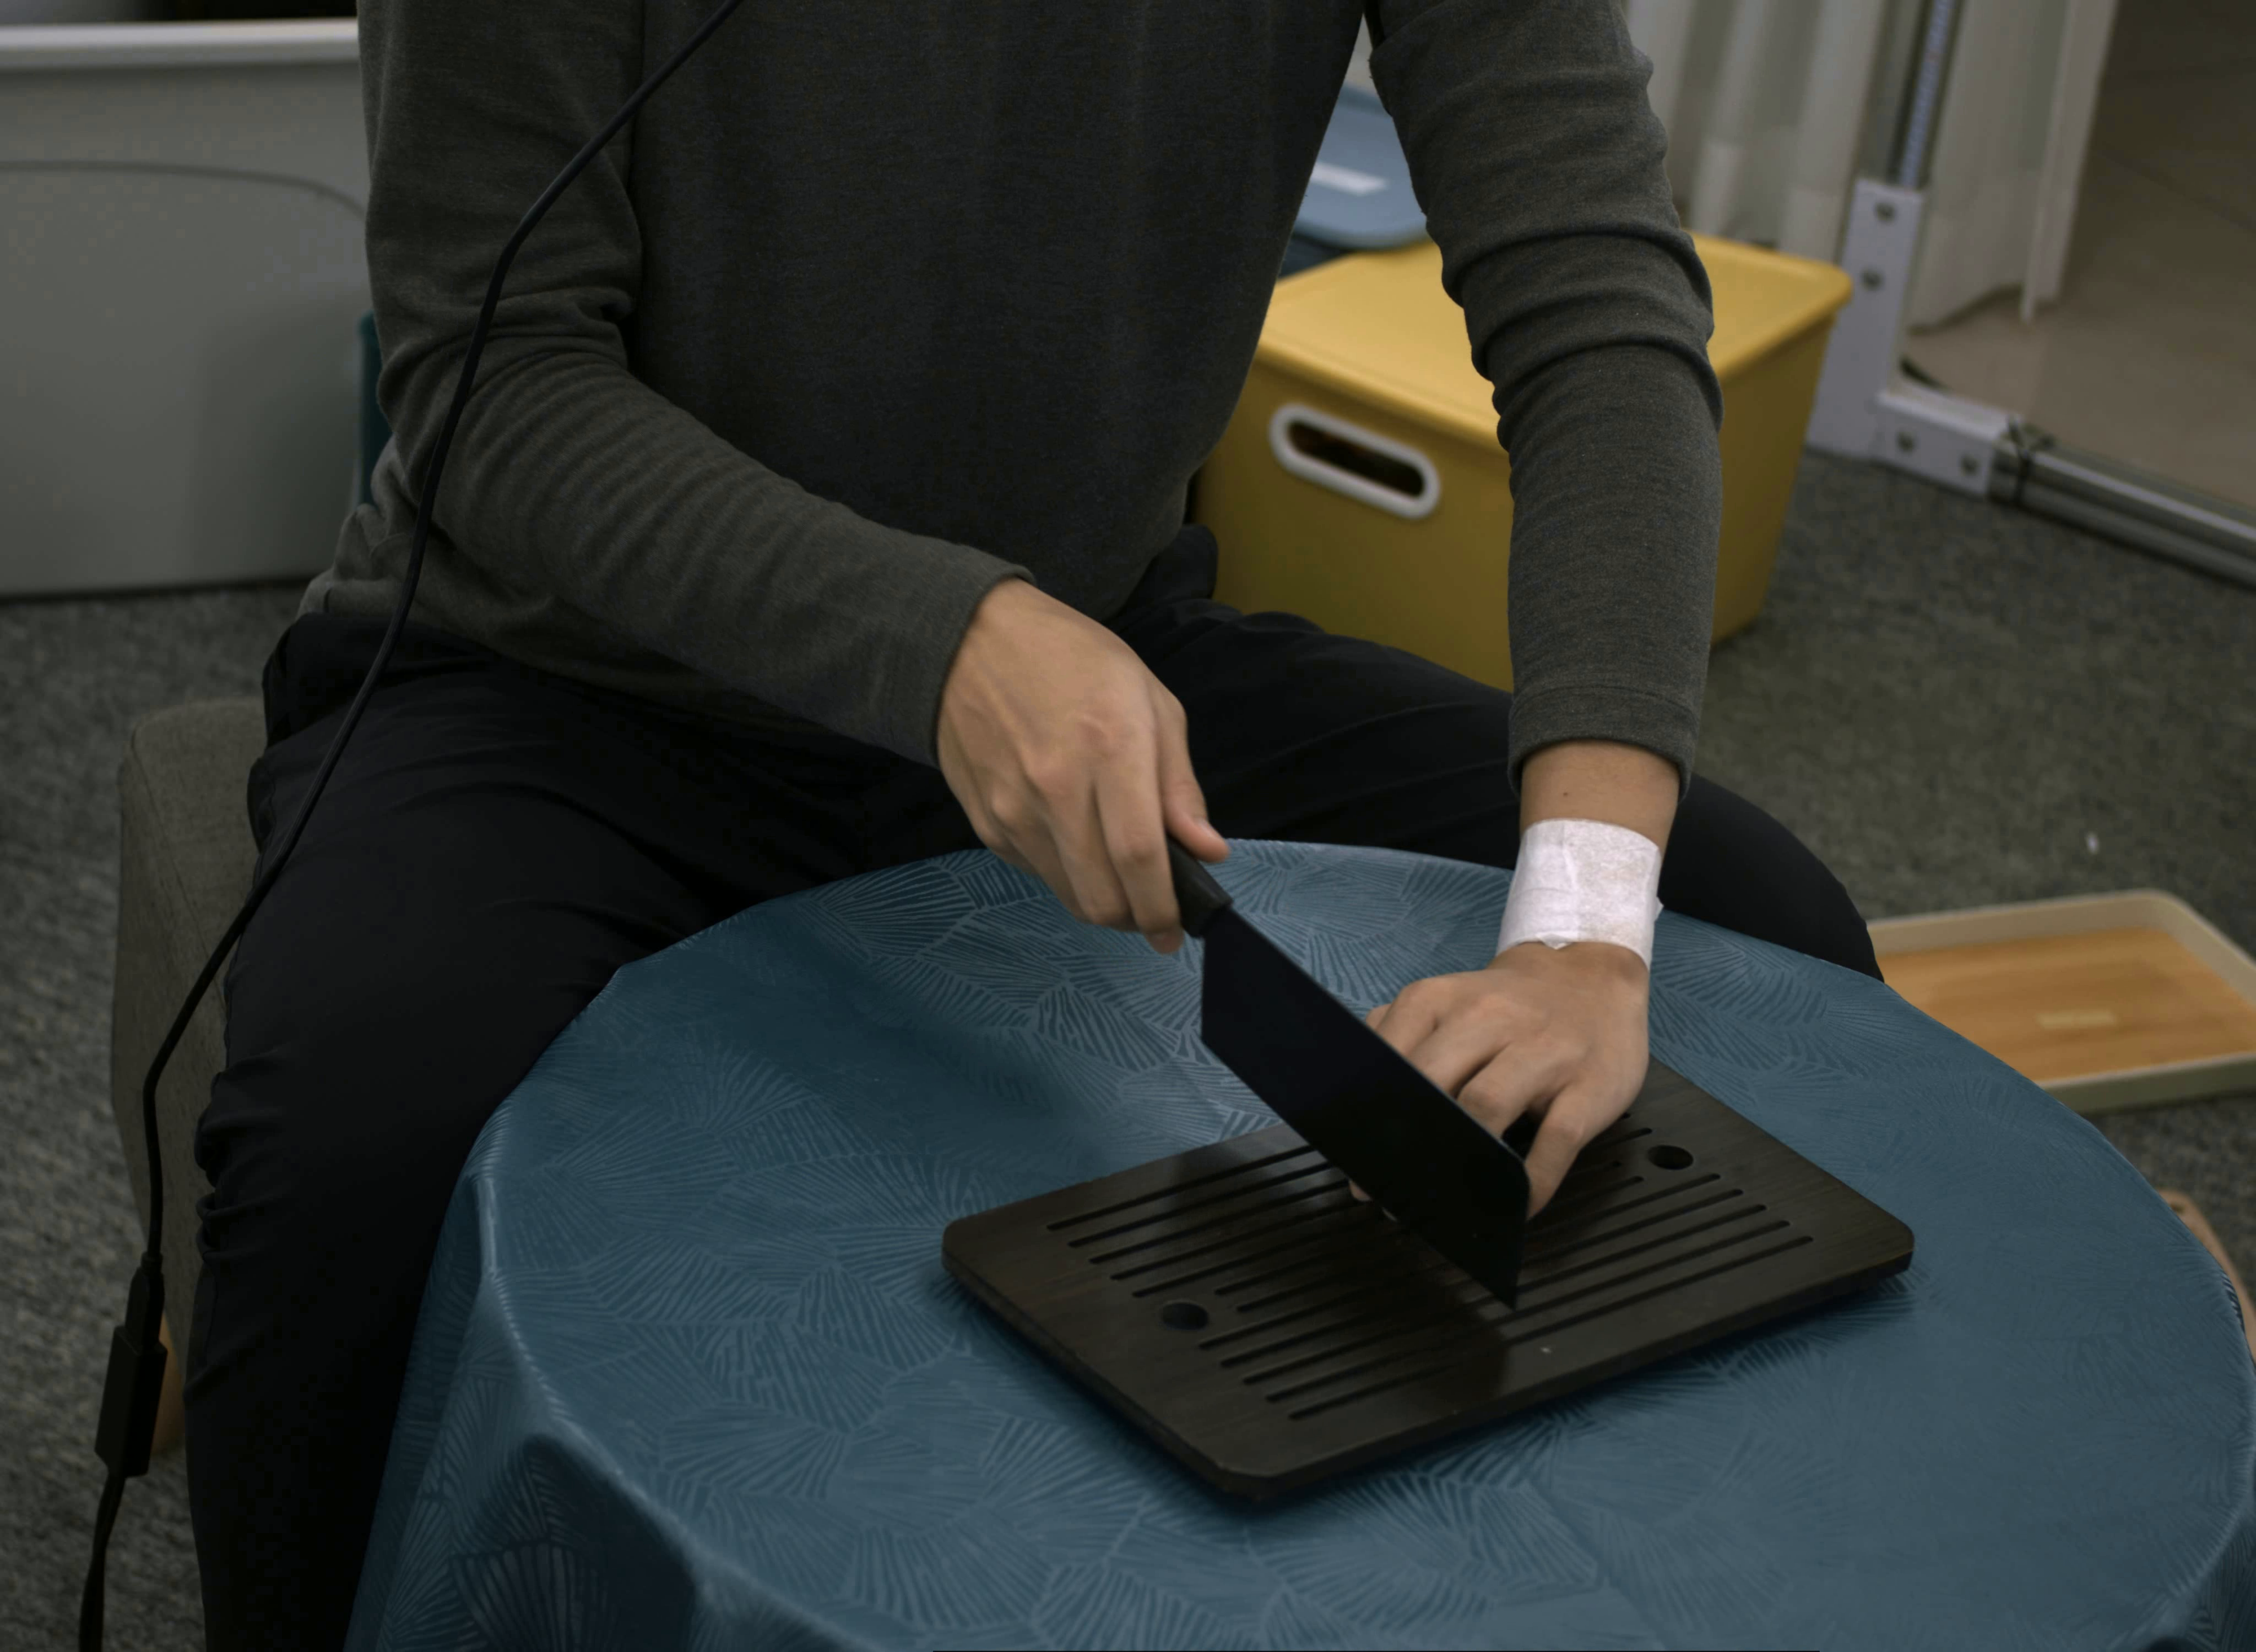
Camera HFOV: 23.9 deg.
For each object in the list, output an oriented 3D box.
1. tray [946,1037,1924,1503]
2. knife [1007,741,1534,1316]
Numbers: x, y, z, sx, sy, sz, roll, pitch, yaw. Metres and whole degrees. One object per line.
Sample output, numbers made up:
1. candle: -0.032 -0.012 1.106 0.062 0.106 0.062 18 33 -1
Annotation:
1. tray: 0.104 0.144 1.768 0.304 0.018 0.171 -14 32 -35
2. knife: 0.046 0.061 1.799 0.021 0.080 0.305 -18 43 -29
